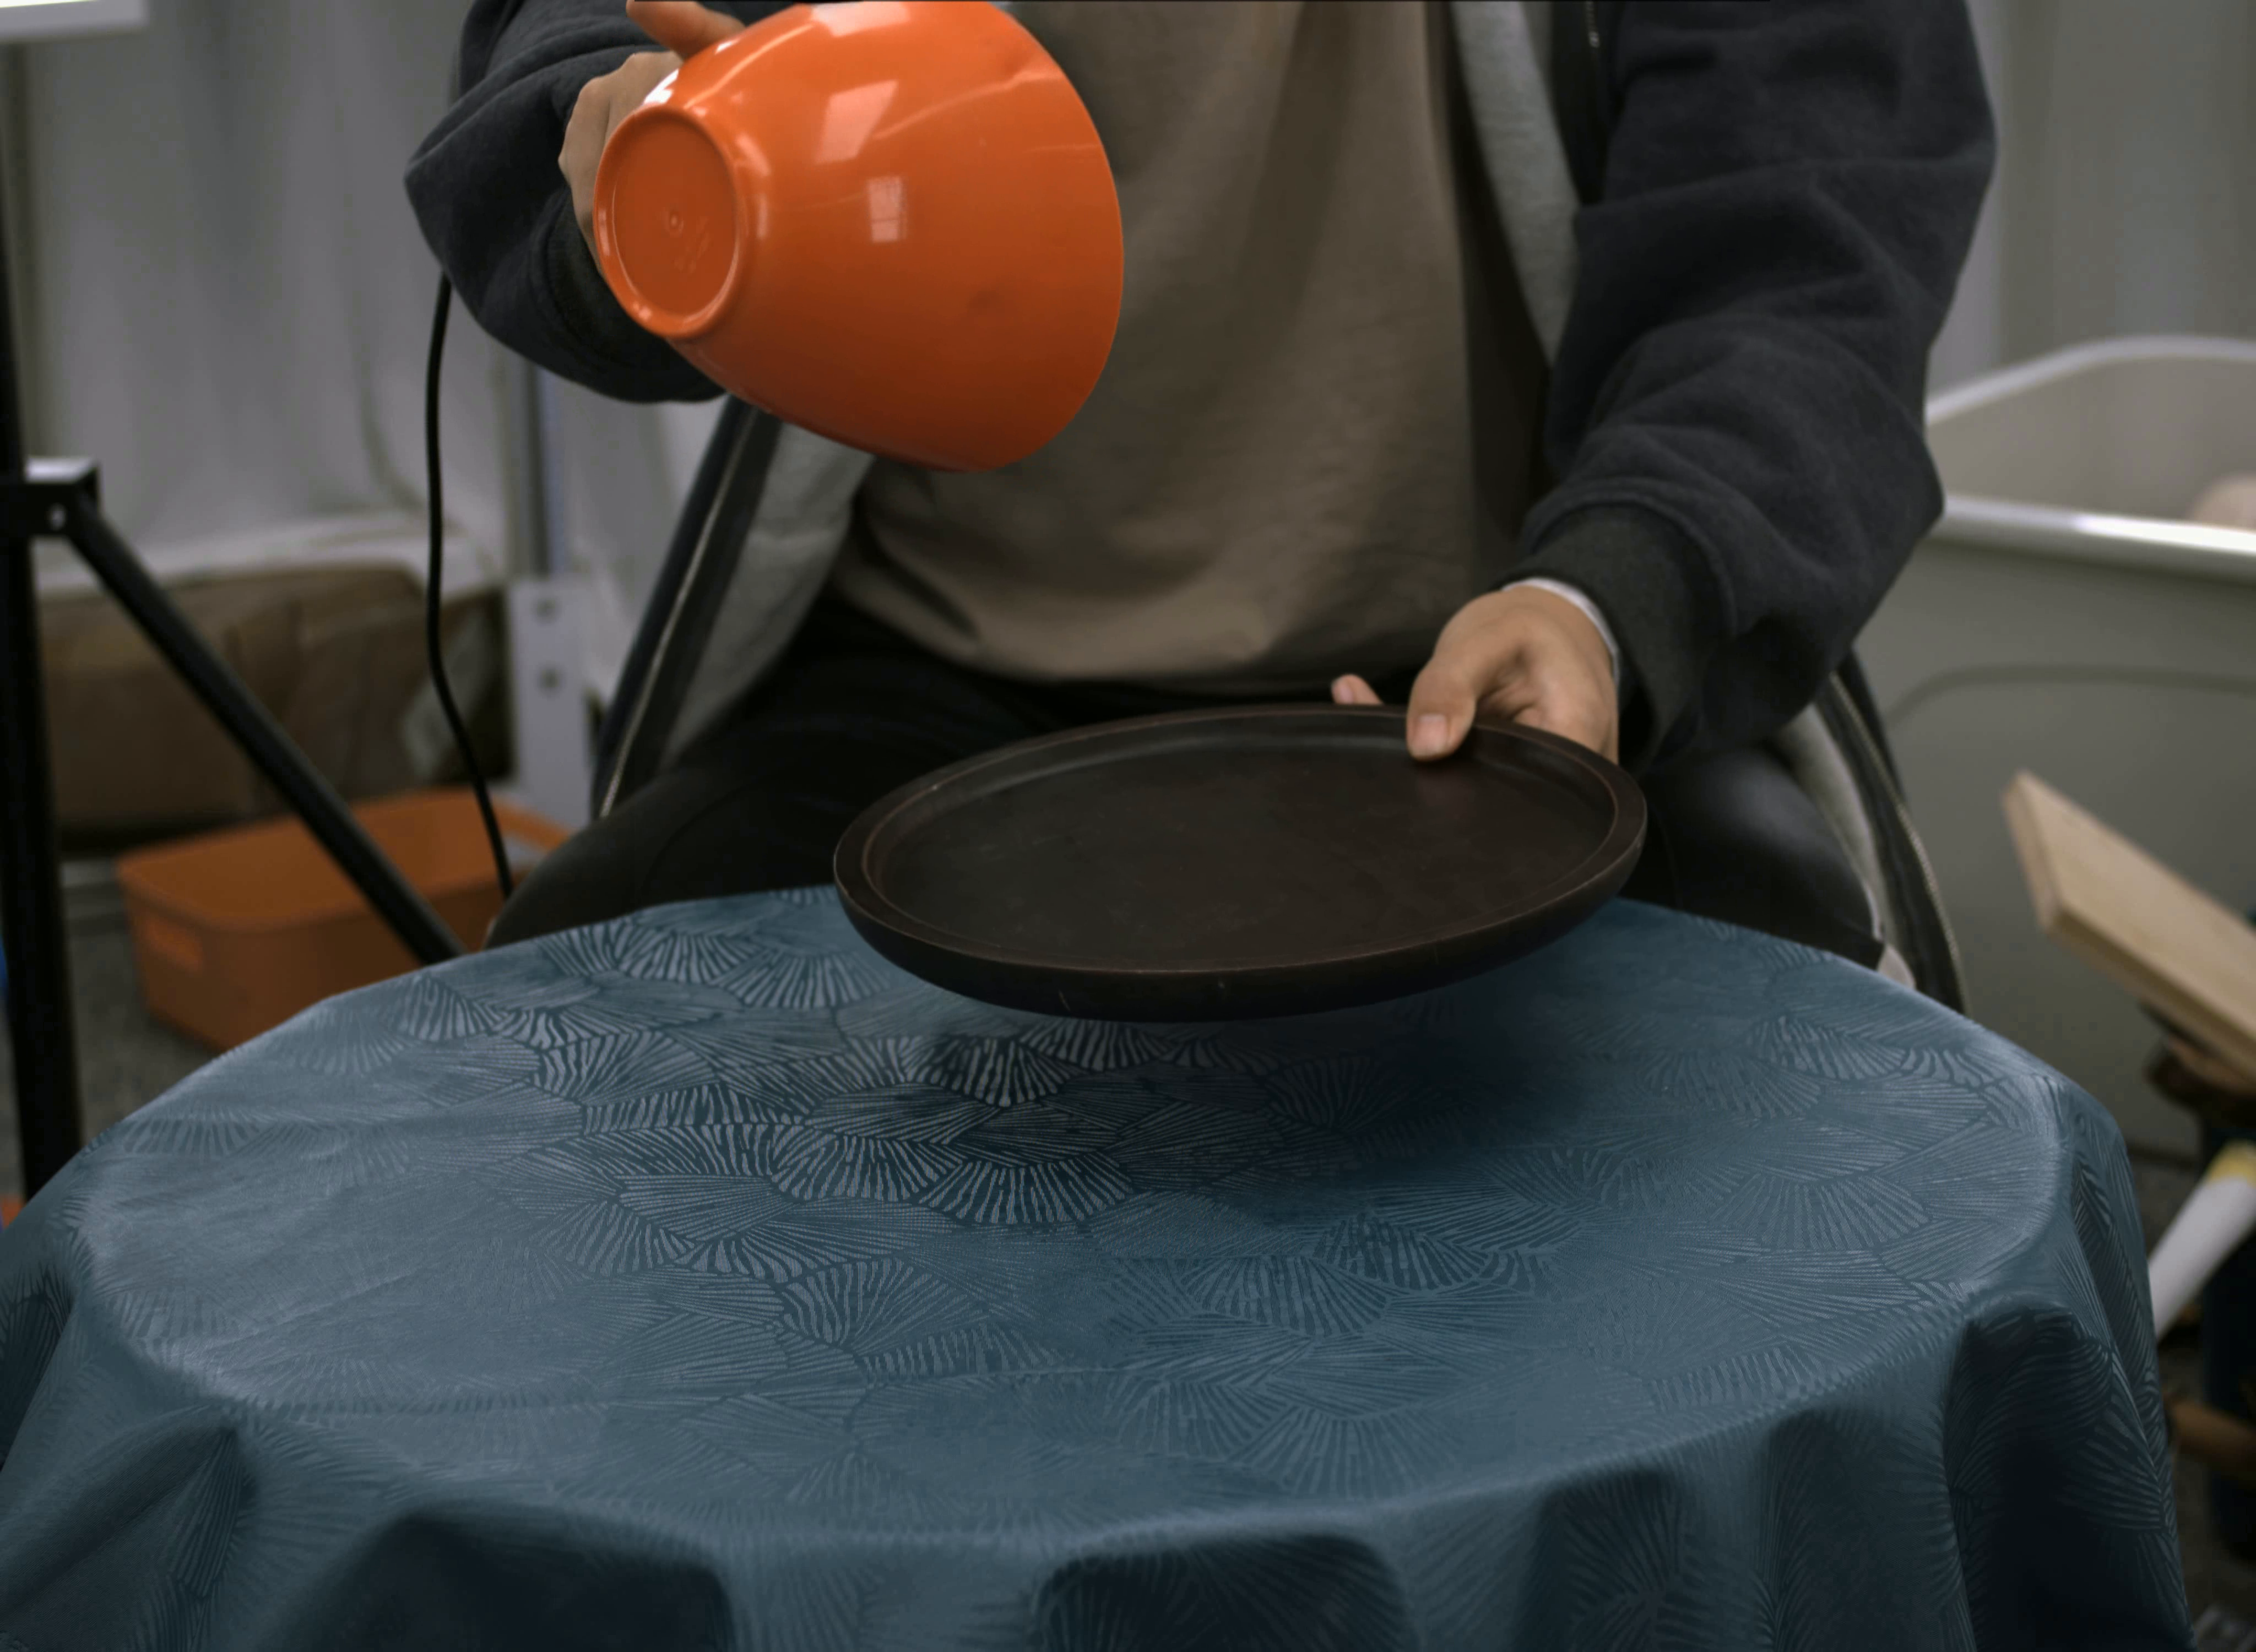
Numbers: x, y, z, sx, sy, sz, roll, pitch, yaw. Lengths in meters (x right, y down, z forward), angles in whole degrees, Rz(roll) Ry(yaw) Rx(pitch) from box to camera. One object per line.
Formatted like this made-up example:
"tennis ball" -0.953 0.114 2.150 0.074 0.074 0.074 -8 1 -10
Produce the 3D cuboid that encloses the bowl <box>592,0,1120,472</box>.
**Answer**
"bowl" -0.089 -0.171 1.545 0.102 0.148 0.151 -11 18 -41

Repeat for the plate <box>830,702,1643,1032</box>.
"plate" 0.034 0.010 1.647 0.254 0.029 0.256 -6 18 1
